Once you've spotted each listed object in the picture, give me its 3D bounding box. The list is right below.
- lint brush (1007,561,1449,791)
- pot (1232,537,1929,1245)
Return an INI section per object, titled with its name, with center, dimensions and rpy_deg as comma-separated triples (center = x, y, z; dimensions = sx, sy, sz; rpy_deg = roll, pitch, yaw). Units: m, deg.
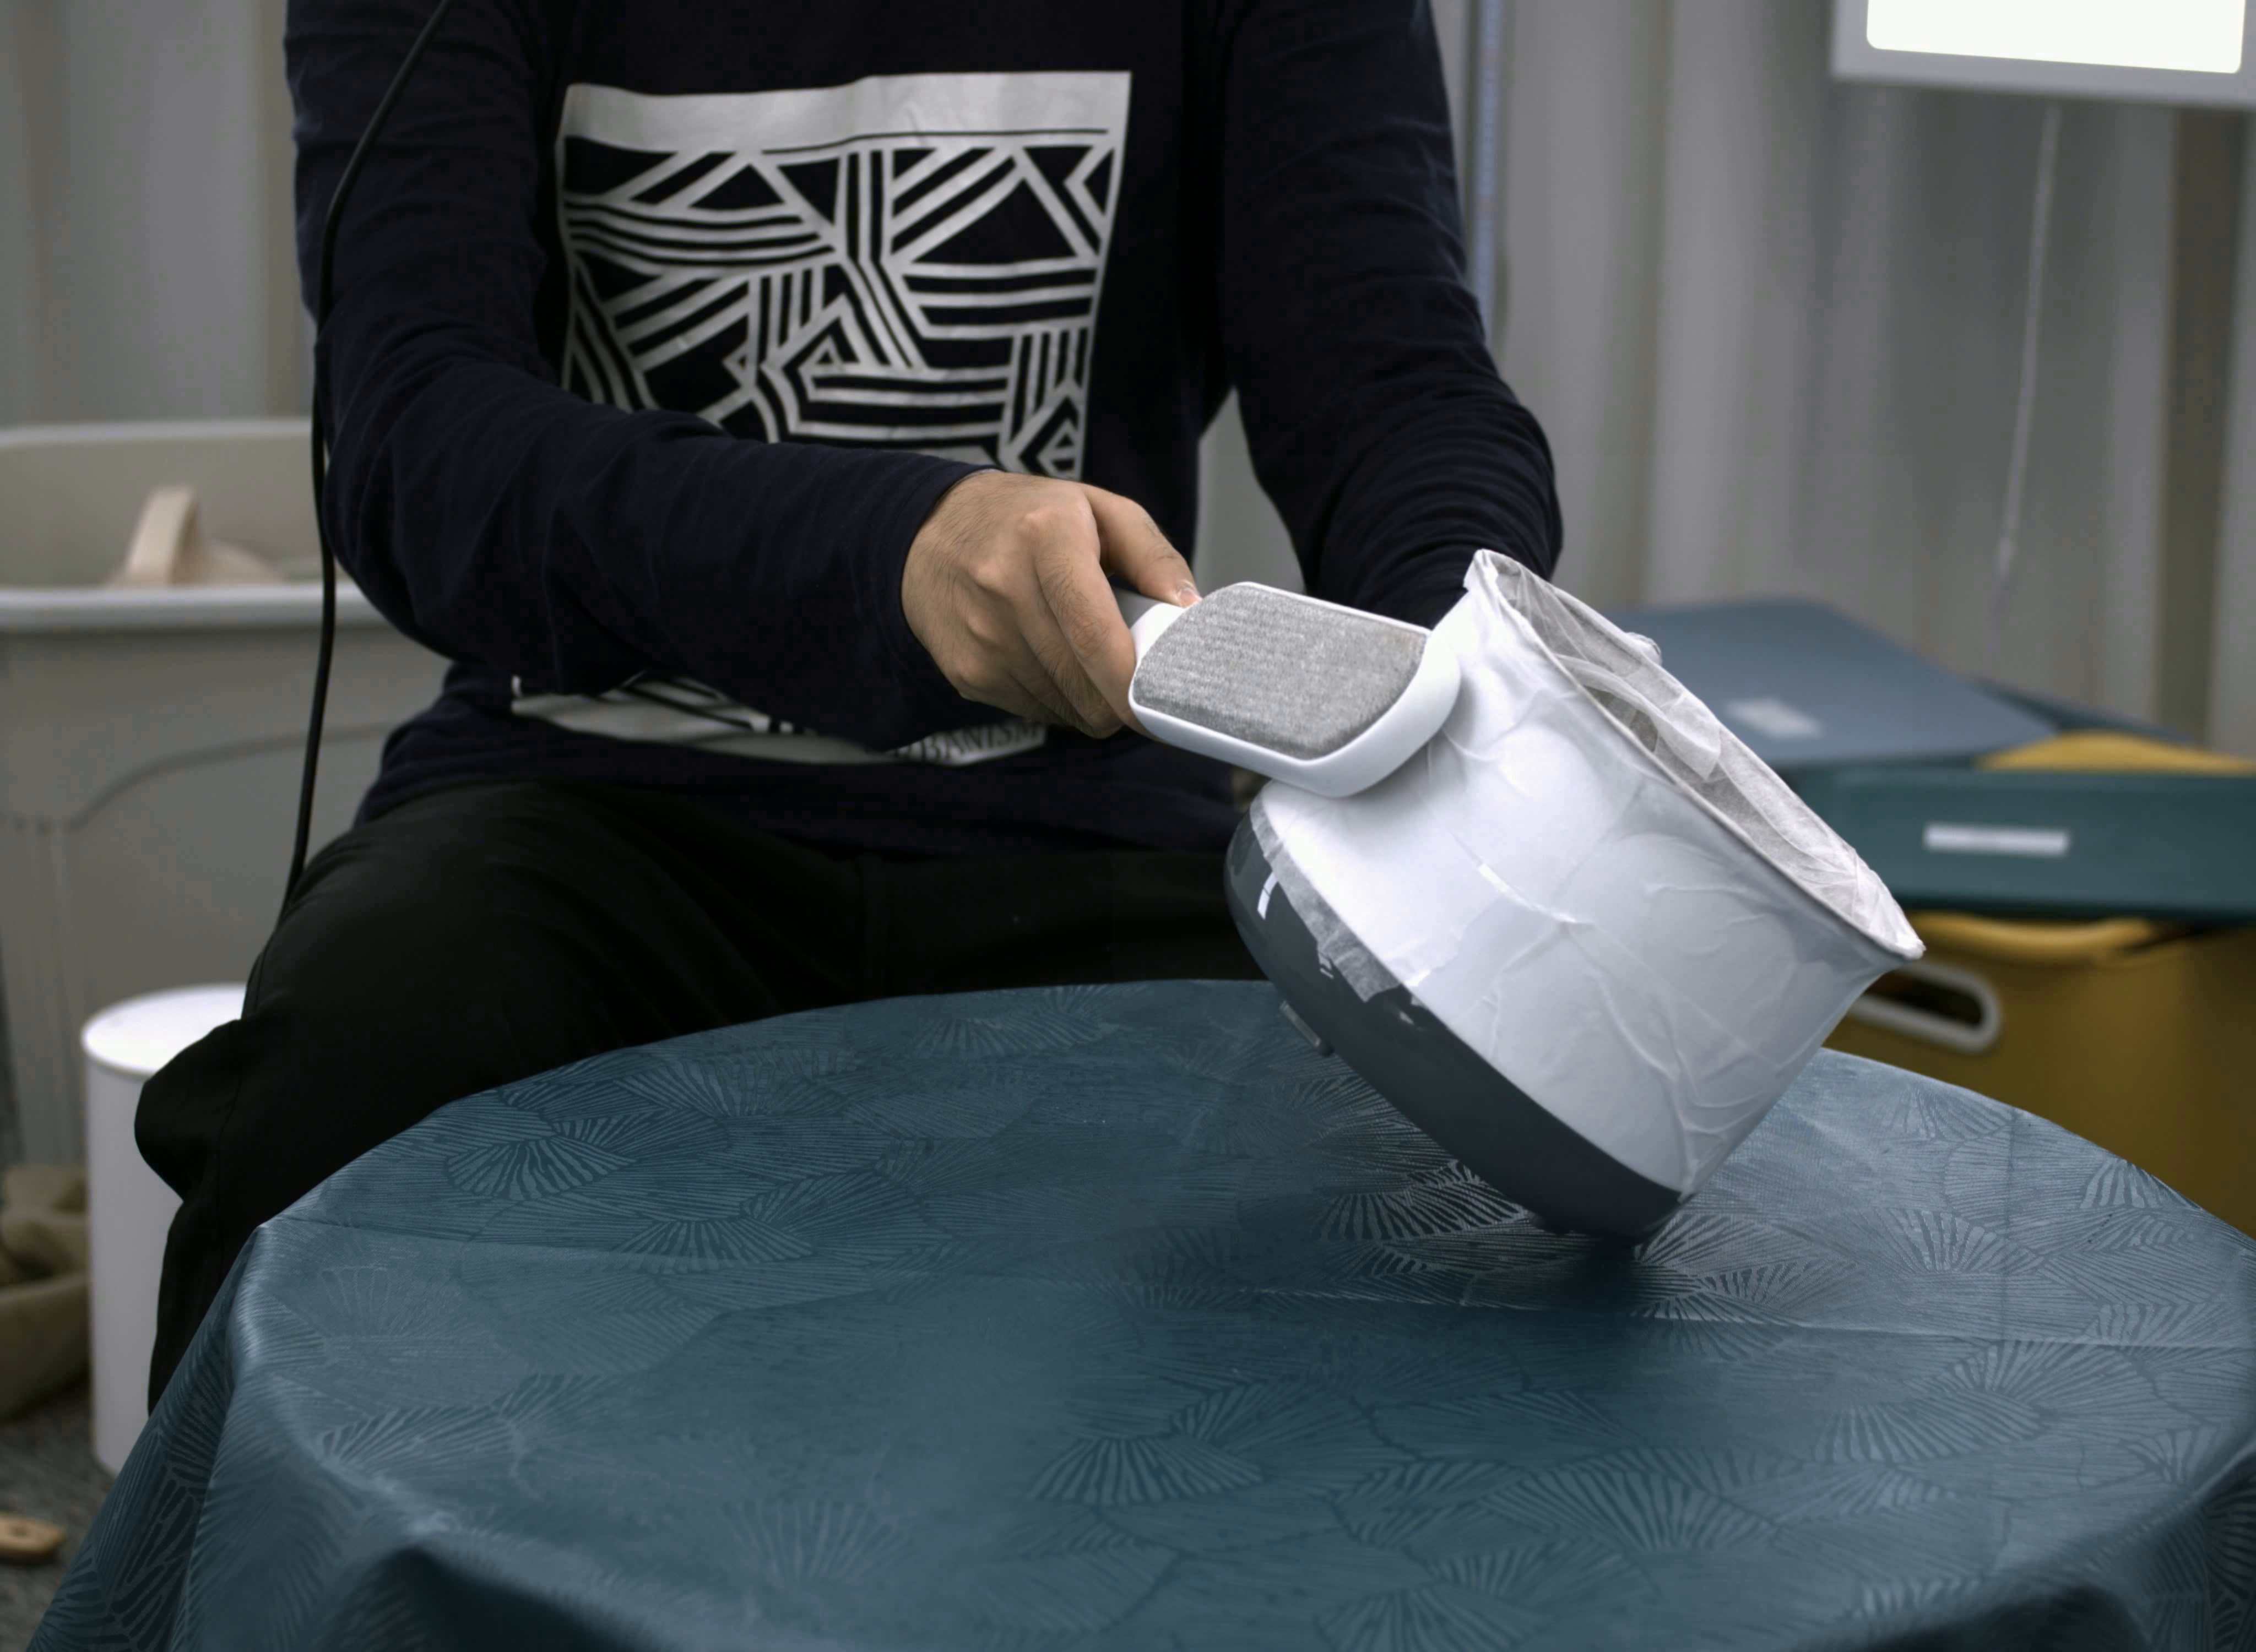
[lint brush]
center = 0.023, -0.054, 1.612
dimensions = 0.021, 0.060, 0.306
rpy_deg = 39, -7, -22
[pot]
center = 0.126, 0.013, 1.582
dimensions = 0.180, 0.136, 0.232
rpy_deg = 41, 12, -17
